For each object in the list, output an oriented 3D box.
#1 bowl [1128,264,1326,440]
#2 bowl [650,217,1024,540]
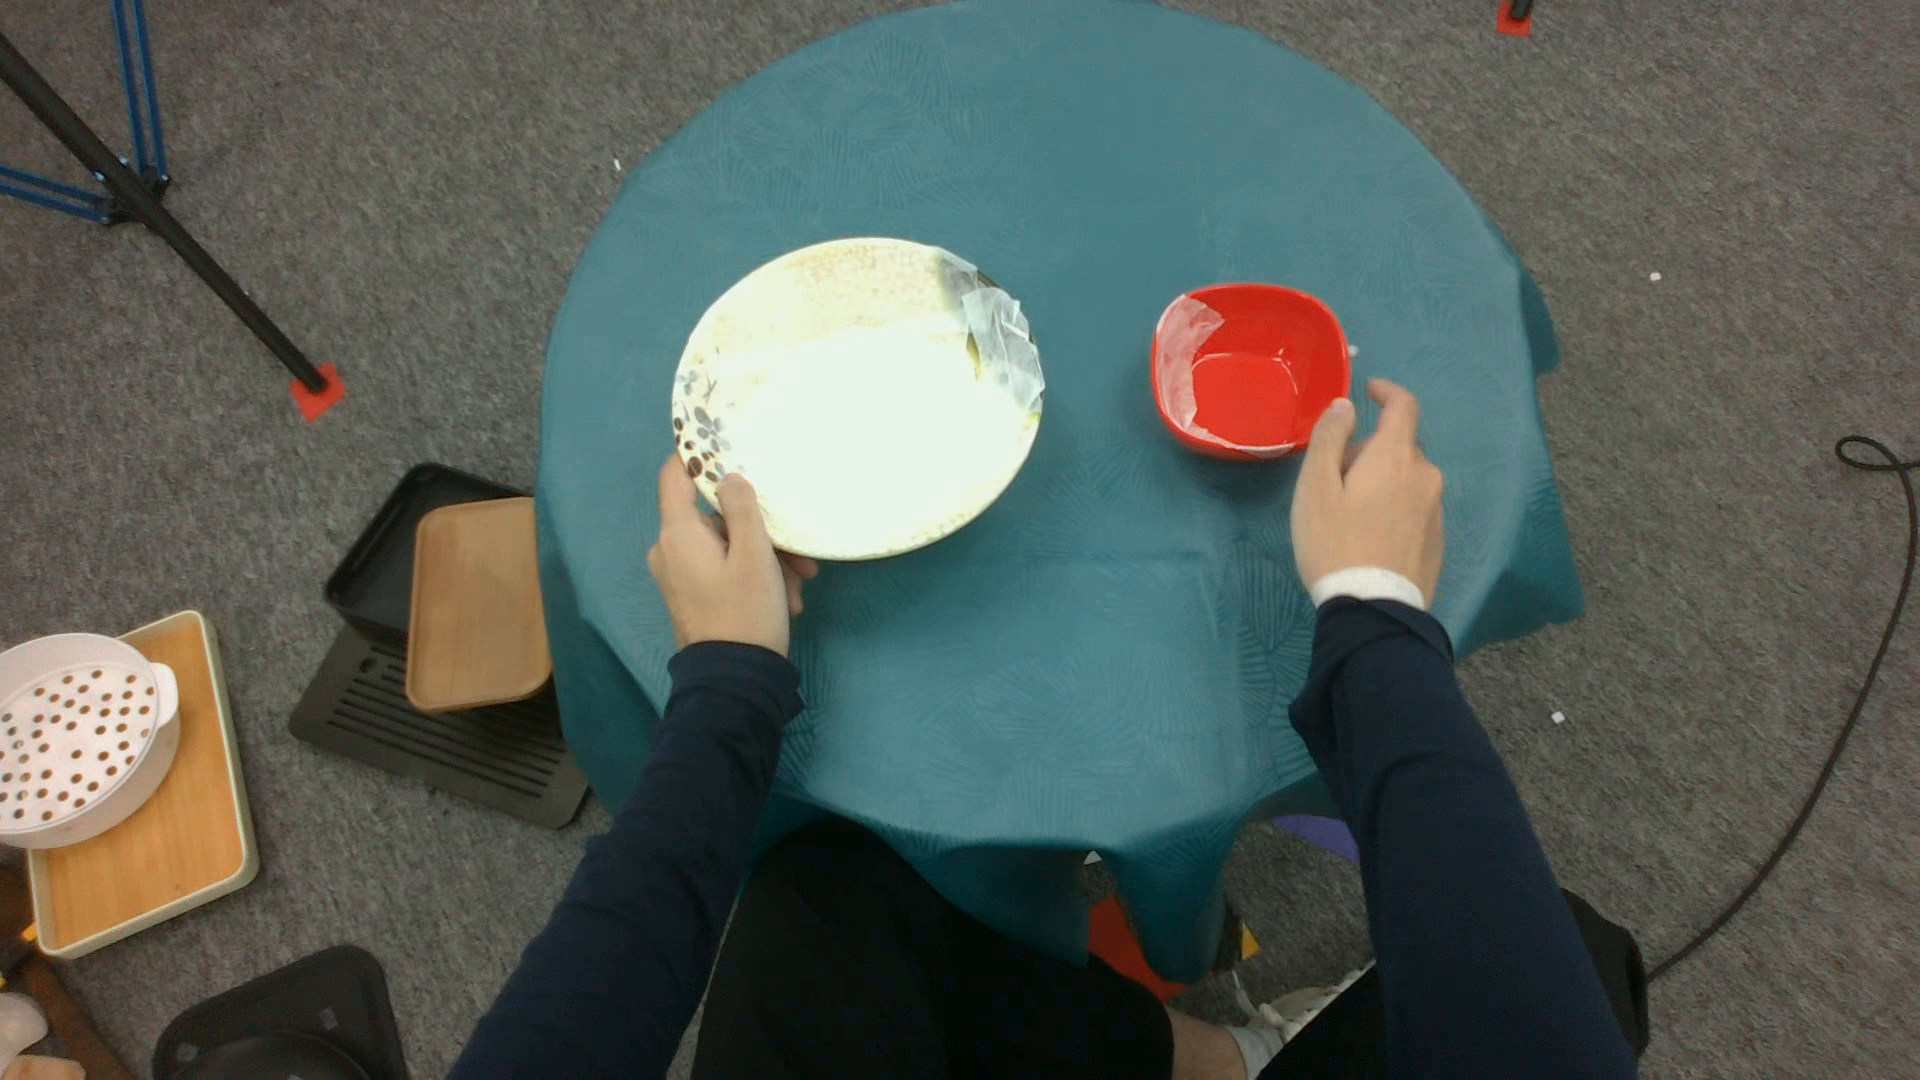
[{"bbox_3d":[0.150,-0.100,0.793,0.119,0.051,0.119,0,65,1],"label":"bowl"},{"bbox_3d":[-0.065,-0.078,0.778,0.204,0.077,0.204,-1,65,3],"label":"bowl"}]
